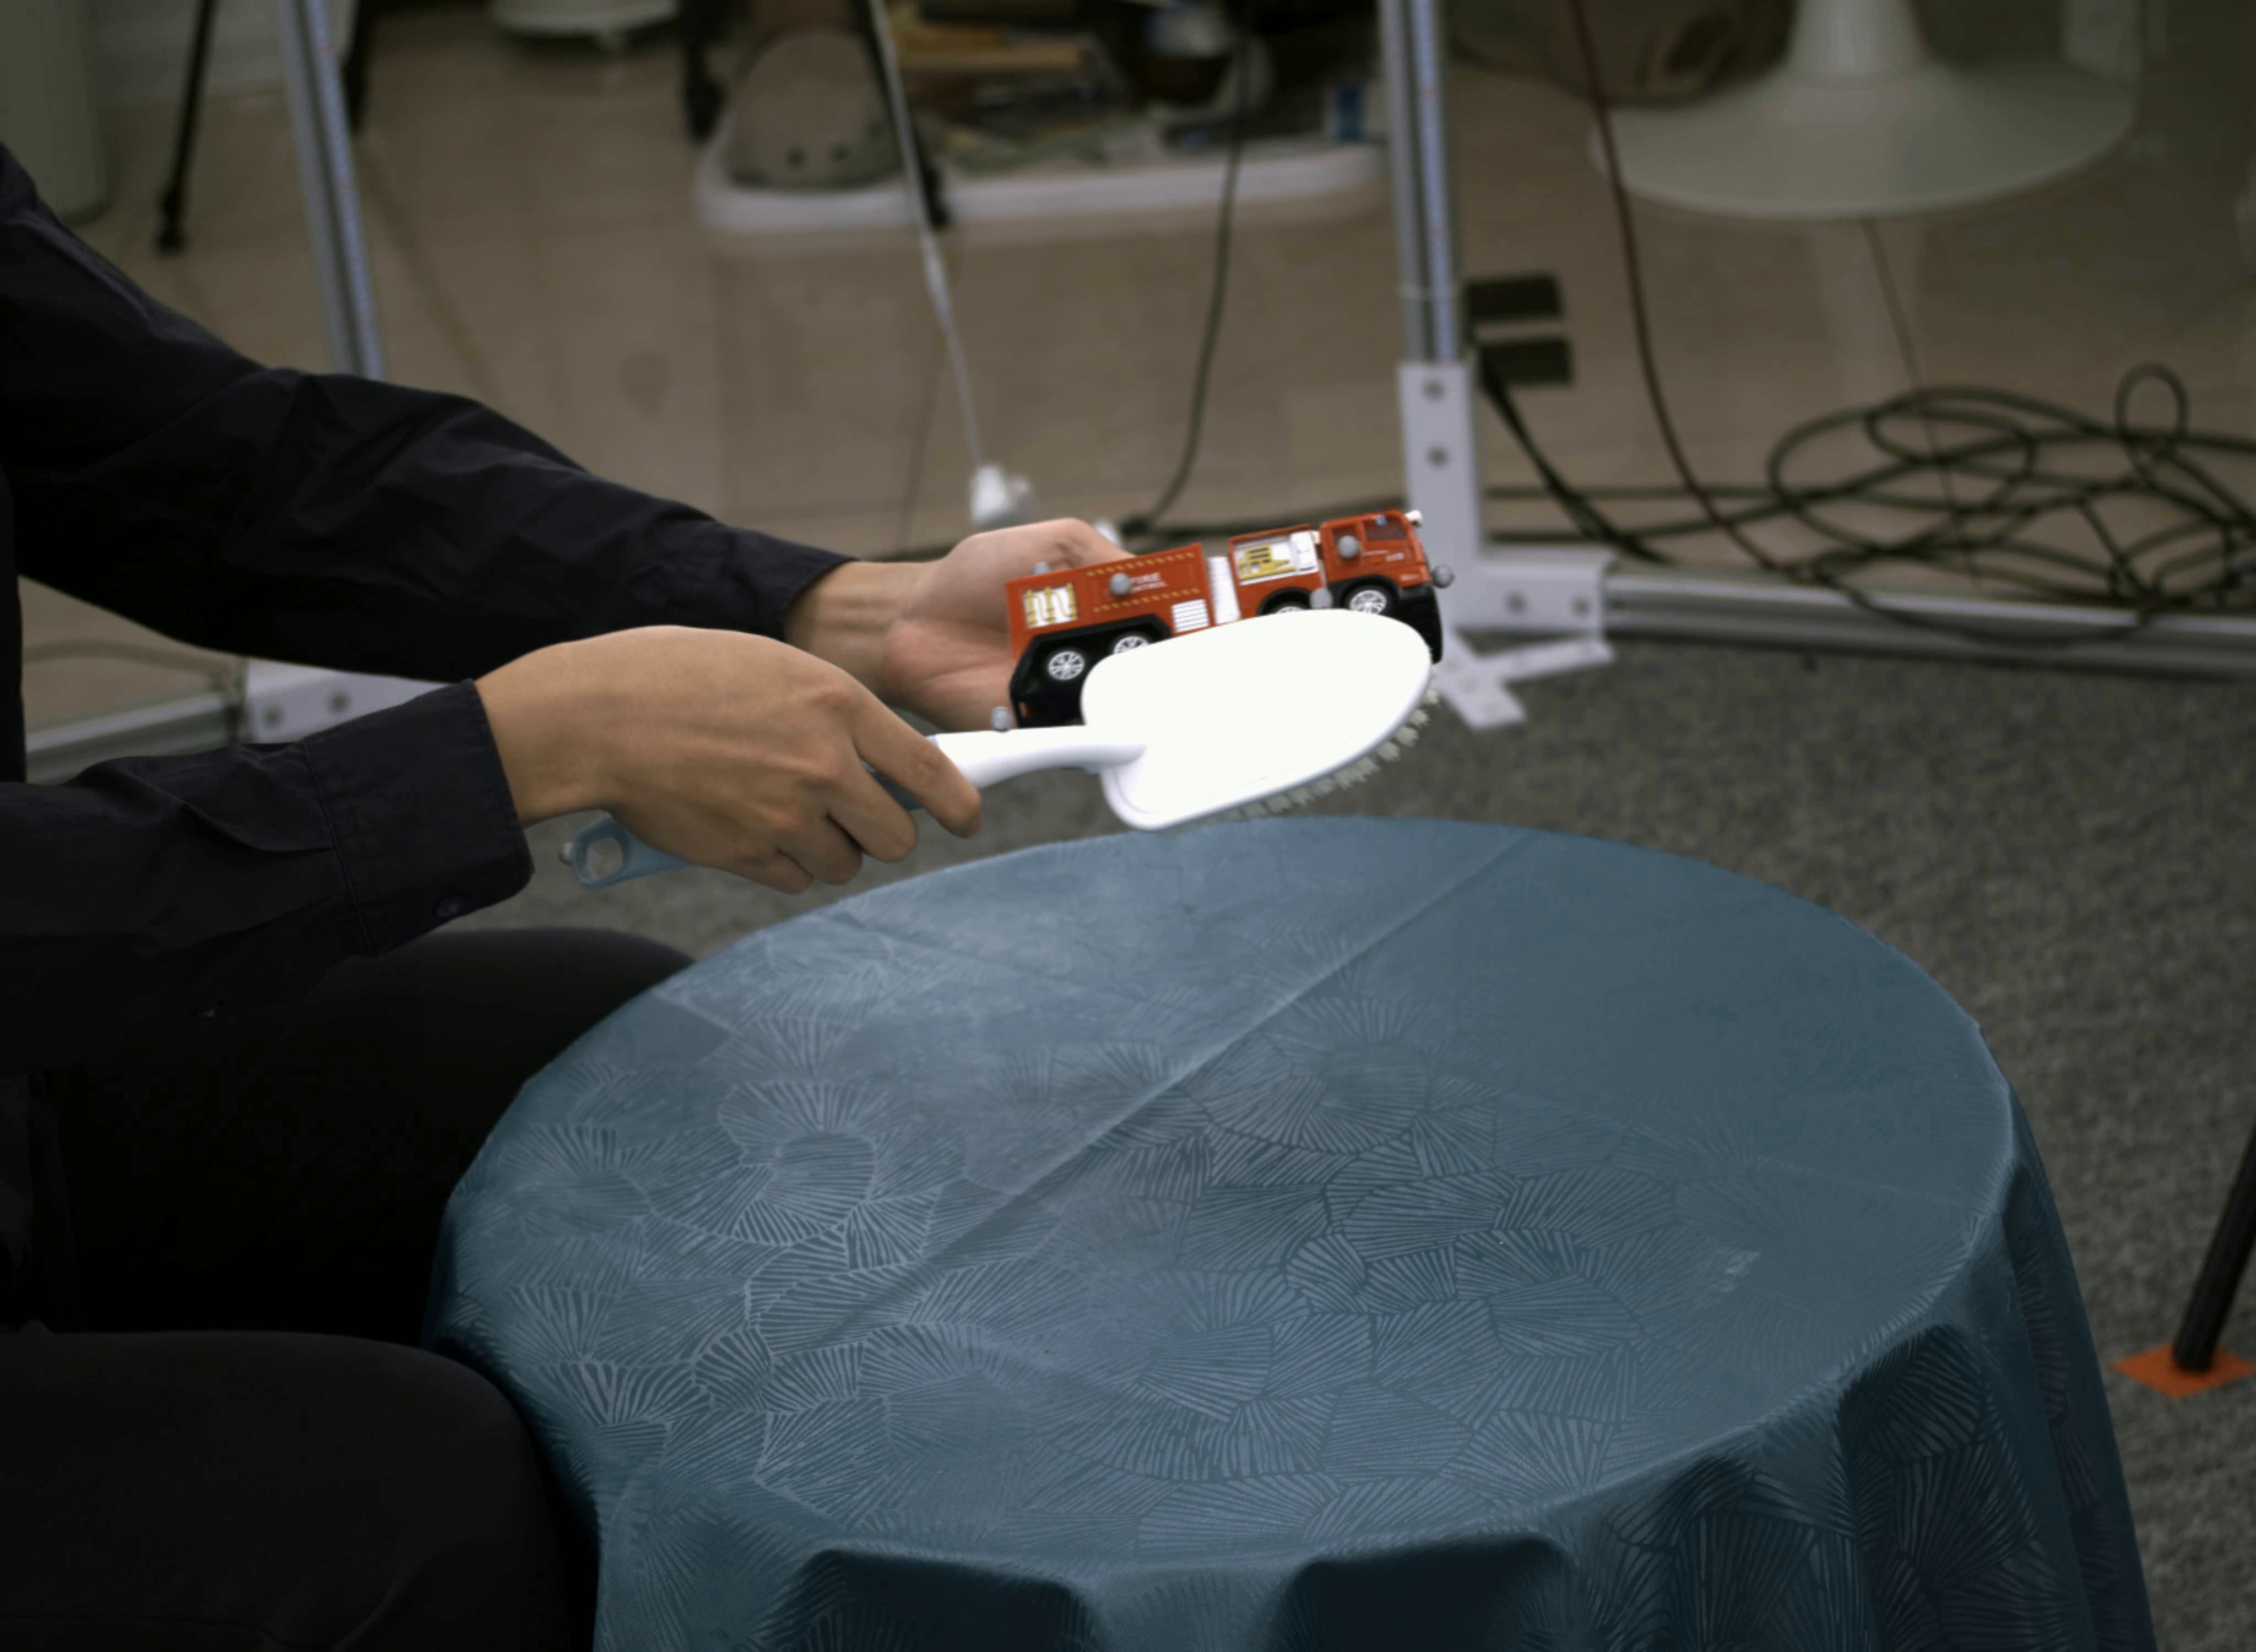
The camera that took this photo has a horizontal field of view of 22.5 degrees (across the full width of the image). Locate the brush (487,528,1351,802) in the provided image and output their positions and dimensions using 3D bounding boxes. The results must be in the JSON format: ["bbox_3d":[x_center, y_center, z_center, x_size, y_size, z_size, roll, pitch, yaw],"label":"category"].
[{"bbox_3d":[-0.076,-0.054,2.078,0.324,0.086,0.081,-14,45,-7],"label":"brush"}]

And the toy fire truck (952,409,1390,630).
[{"bbox_3d":[0.016,-0.113,2.129,0.167,0.055,0.069,-11,56,0],"label":"toy fire truck"}]
